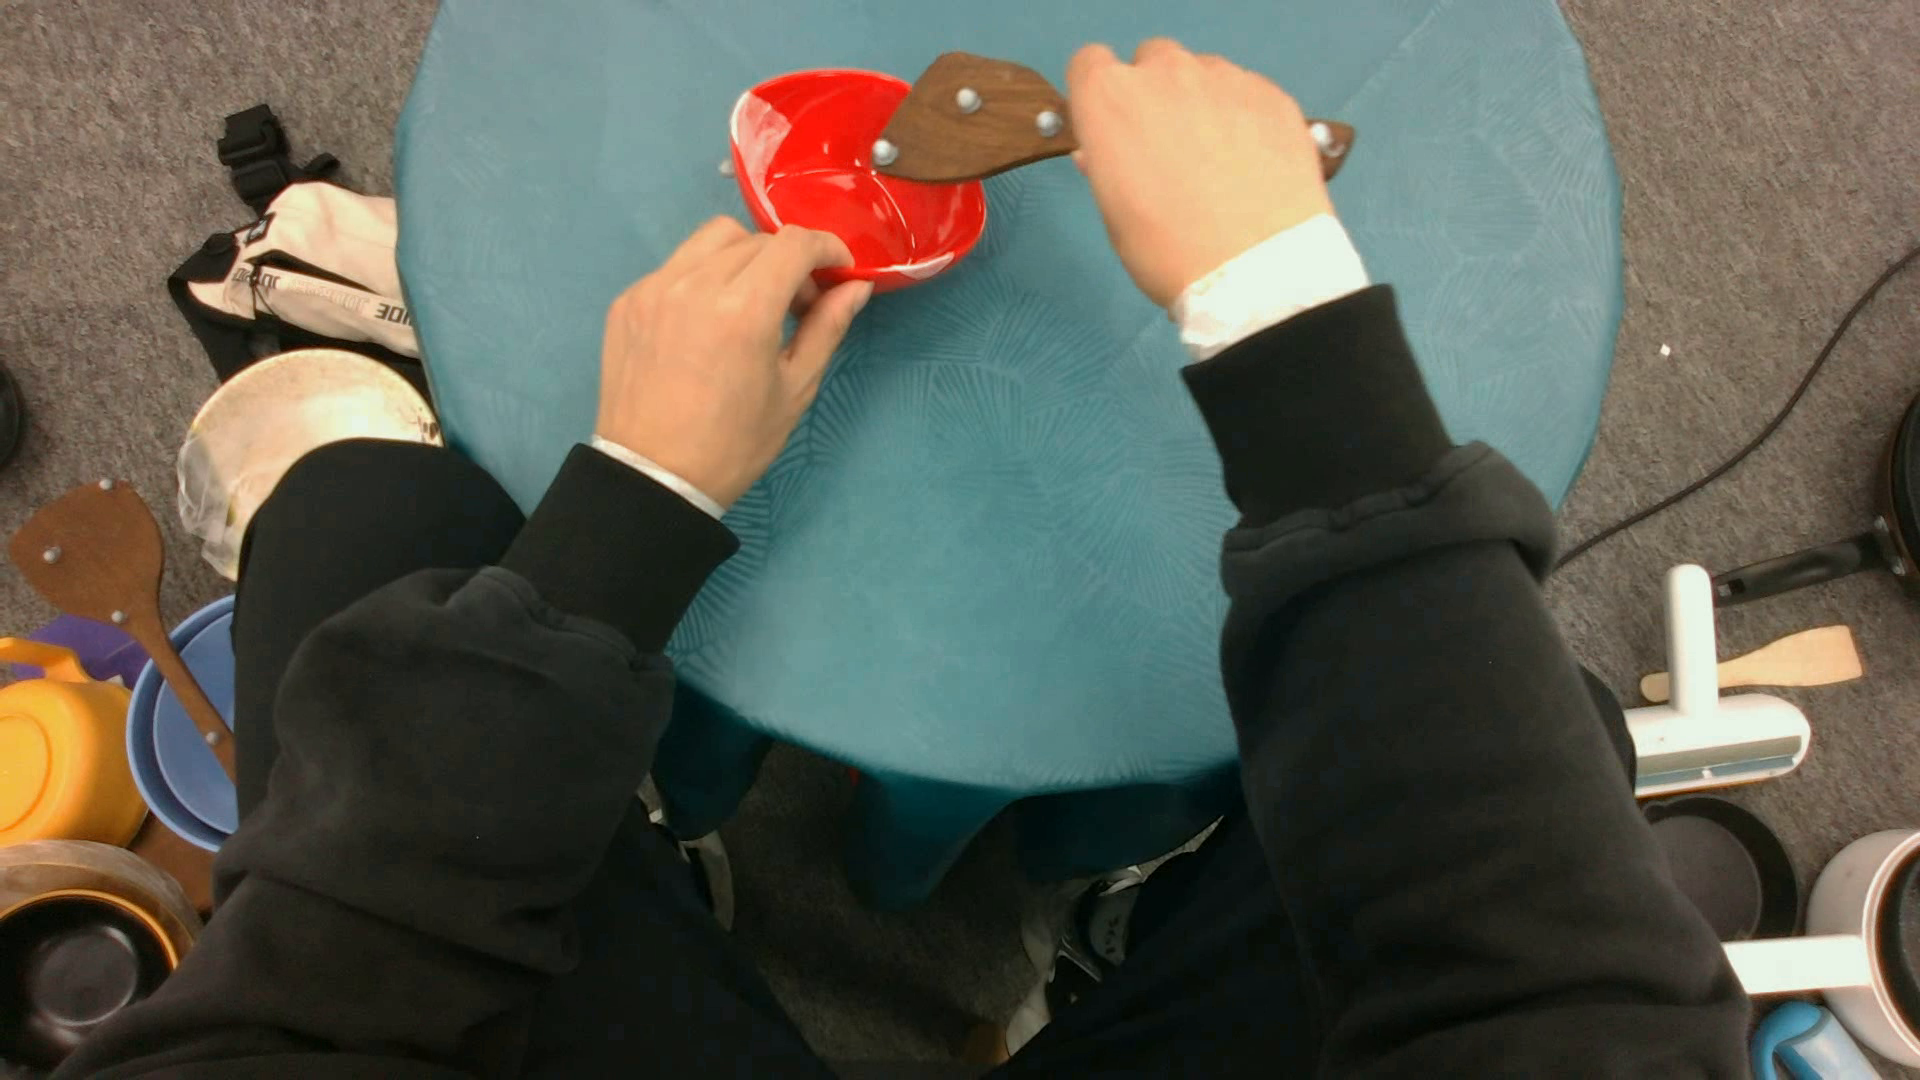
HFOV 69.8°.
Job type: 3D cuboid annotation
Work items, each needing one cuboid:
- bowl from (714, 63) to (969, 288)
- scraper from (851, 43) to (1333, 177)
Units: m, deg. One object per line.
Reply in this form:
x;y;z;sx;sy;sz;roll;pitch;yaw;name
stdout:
-0.059;-0.157;0.626;0.119;0.051;0.119;10;60;-19;bowl
0.049;-0.168;0.556;0.211;0.011;0.076;18;66;34;scraper
